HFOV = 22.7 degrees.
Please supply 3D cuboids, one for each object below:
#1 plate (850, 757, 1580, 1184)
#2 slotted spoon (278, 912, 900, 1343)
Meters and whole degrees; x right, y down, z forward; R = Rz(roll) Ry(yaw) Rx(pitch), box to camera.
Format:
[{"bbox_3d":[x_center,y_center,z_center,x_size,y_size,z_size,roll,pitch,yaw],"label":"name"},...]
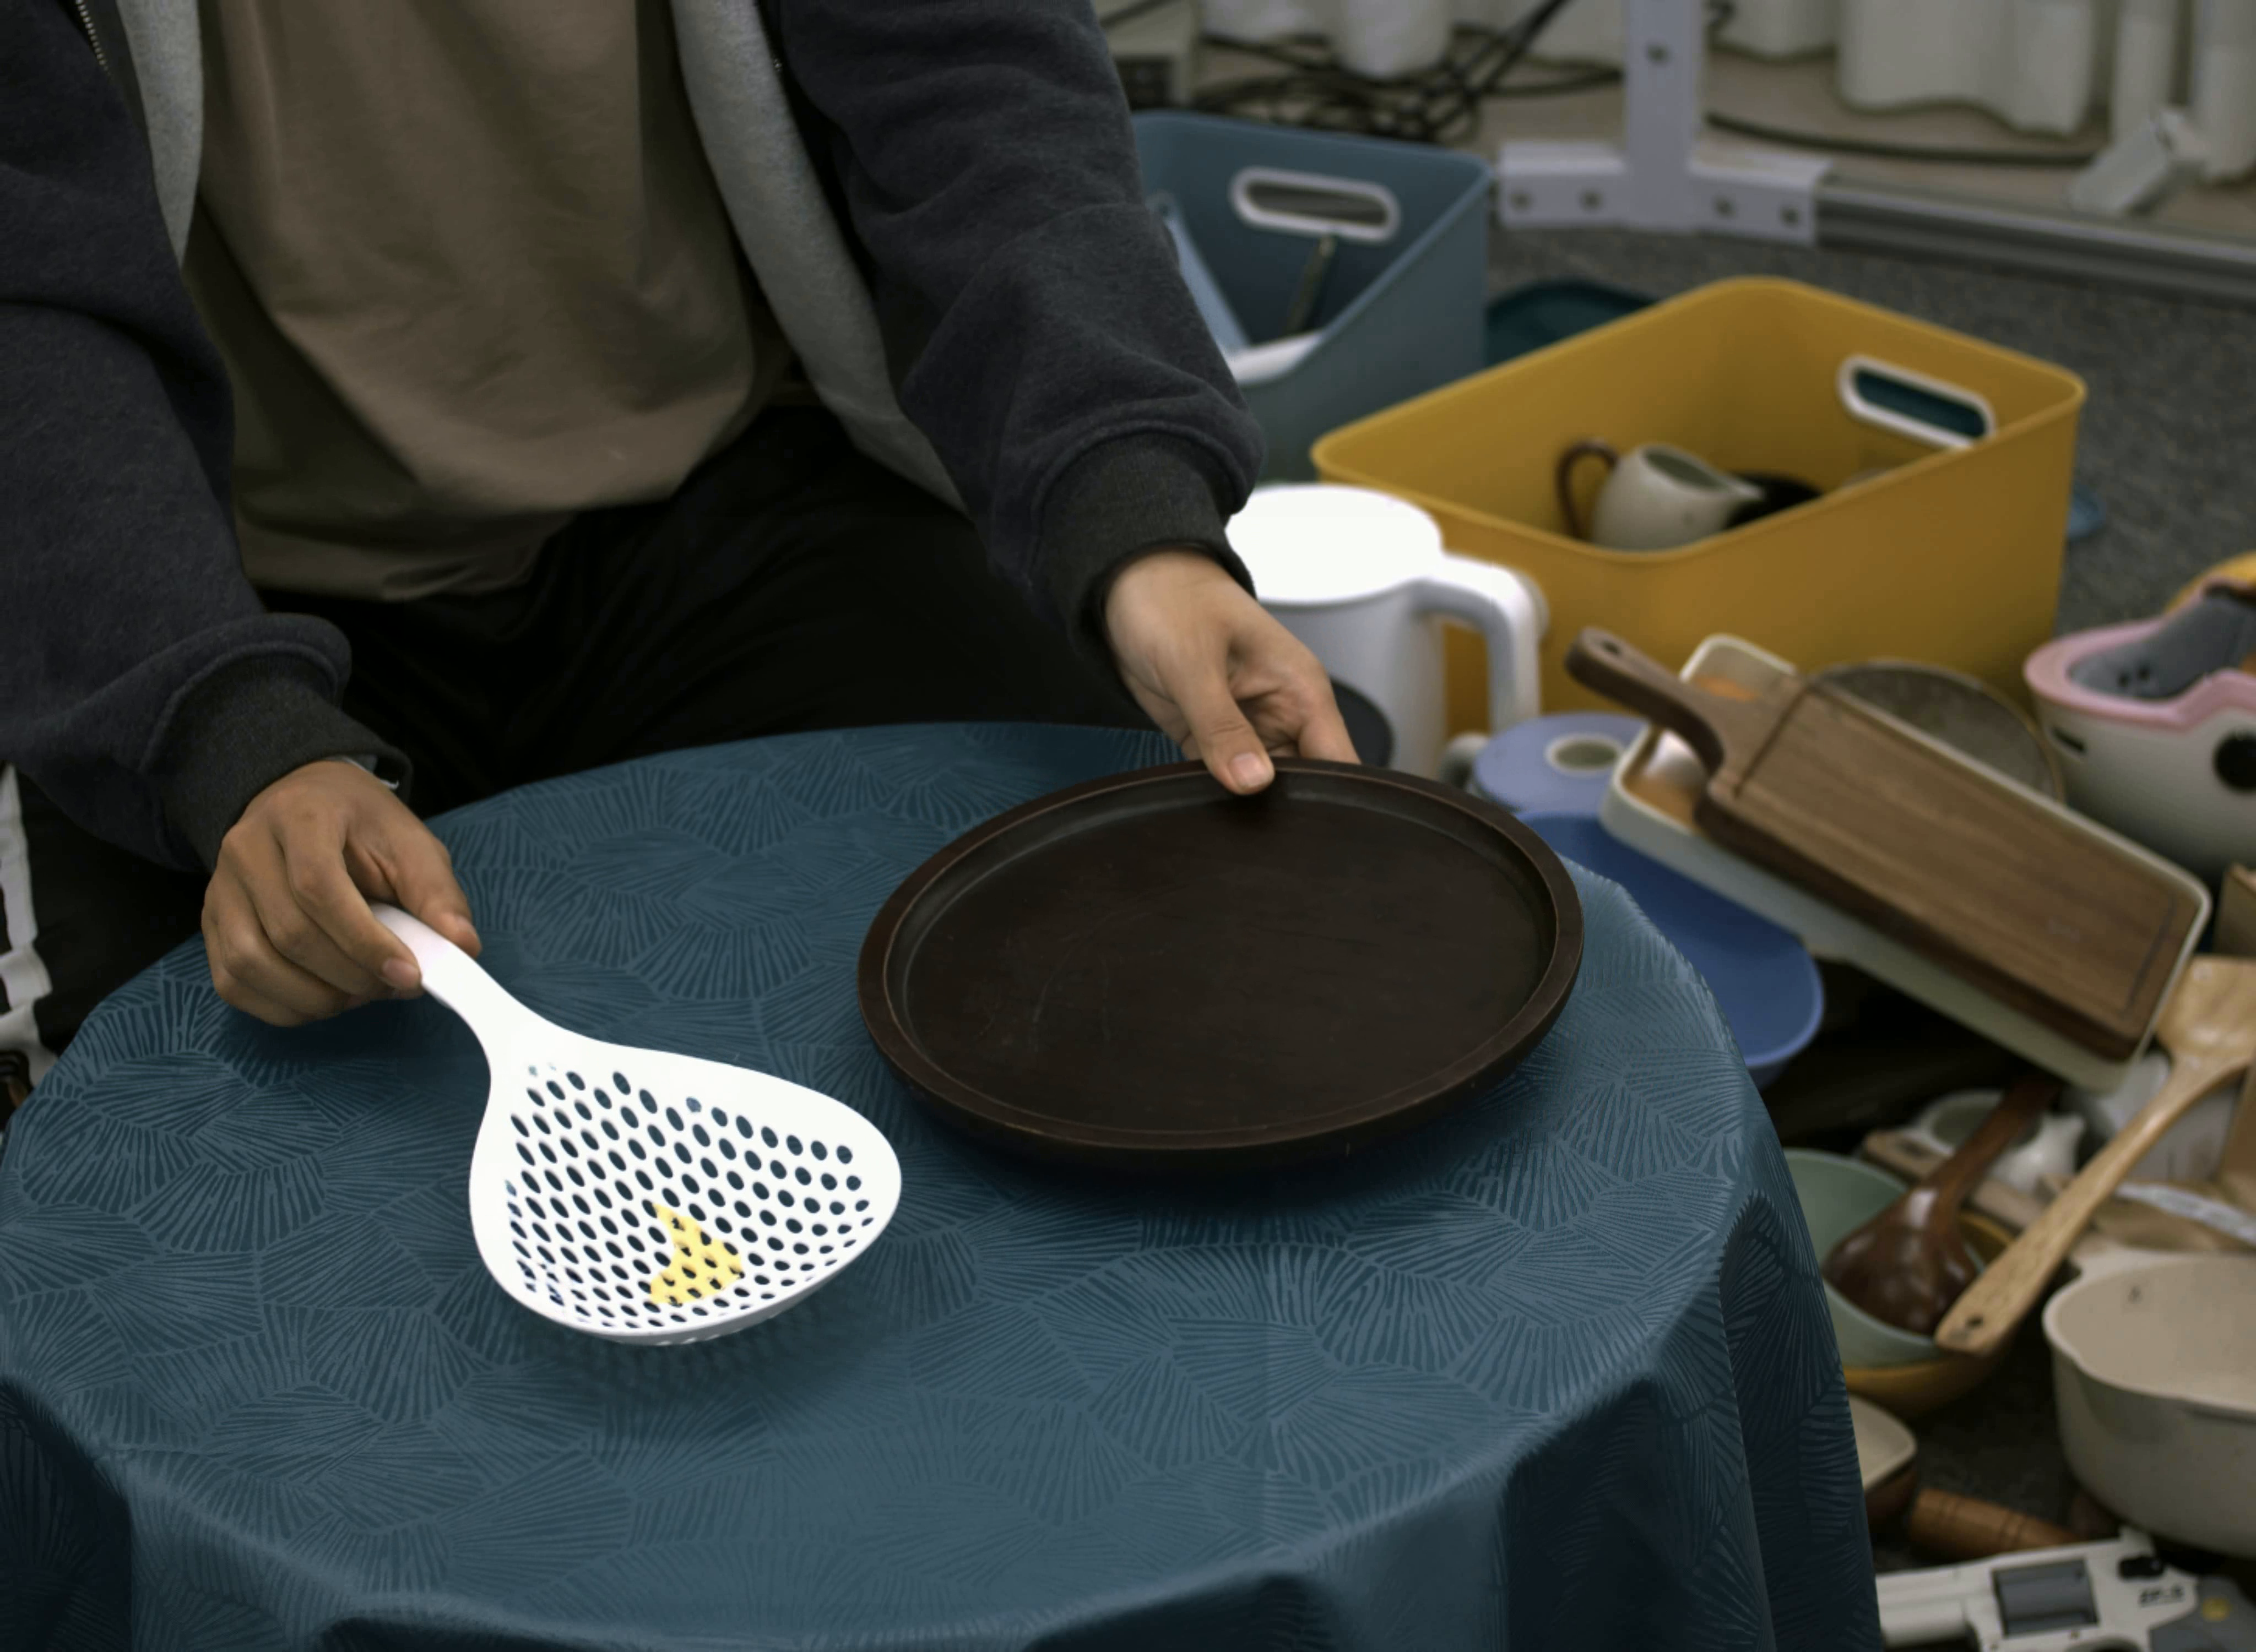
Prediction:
[{"bbox_3d":[0.030,0.048,1.939,0.253,0.029,0.259,-5,30,3],"label":"plate"},{"bbox_3d":[-0.200,0.087,1.887,0.138,0.049,0.349,-26,39,-24],"label":"slotted spoon"}]
